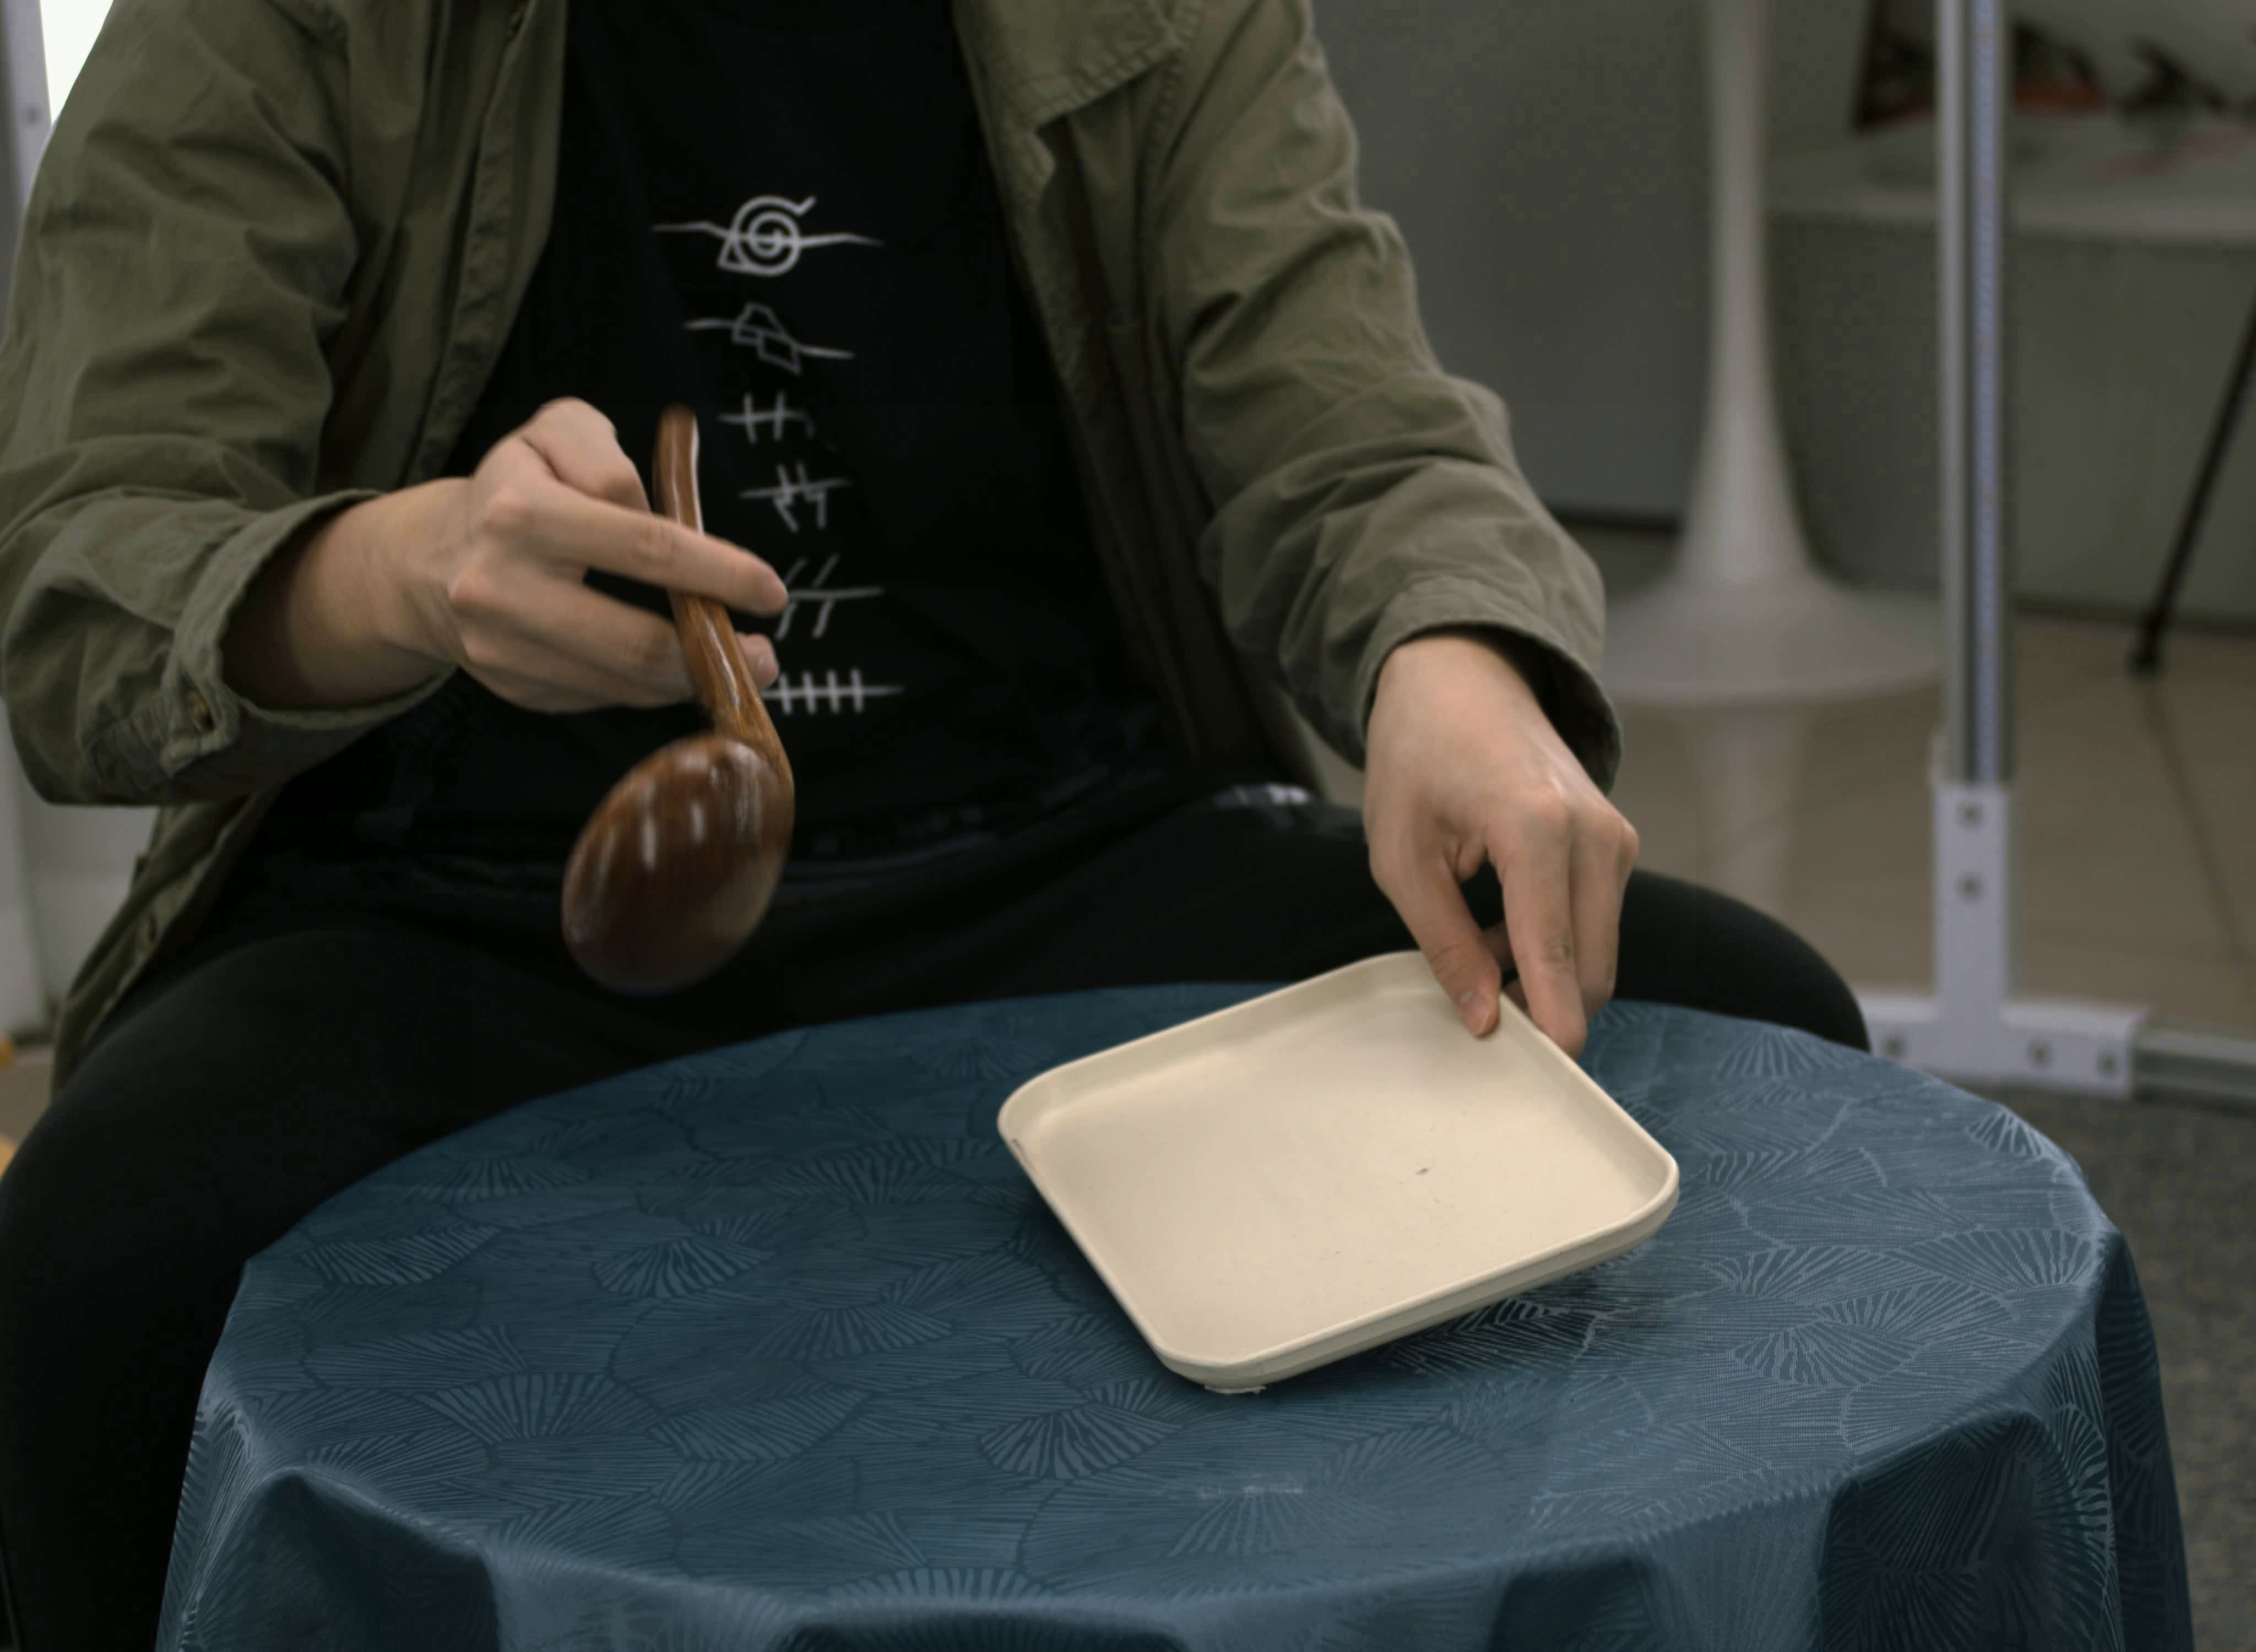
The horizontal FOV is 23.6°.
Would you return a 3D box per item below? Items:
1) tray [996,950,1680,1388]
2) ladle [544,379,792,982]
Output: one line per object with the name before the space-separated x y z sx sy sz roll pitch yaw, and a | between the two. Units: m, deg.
tray | 0.062 0.105 1.681 0.169 0.017 0.242 -19 22 -10
ladle | -0.148 -0.054 1.623 0.075 0.083 0.277 8 34 -18
